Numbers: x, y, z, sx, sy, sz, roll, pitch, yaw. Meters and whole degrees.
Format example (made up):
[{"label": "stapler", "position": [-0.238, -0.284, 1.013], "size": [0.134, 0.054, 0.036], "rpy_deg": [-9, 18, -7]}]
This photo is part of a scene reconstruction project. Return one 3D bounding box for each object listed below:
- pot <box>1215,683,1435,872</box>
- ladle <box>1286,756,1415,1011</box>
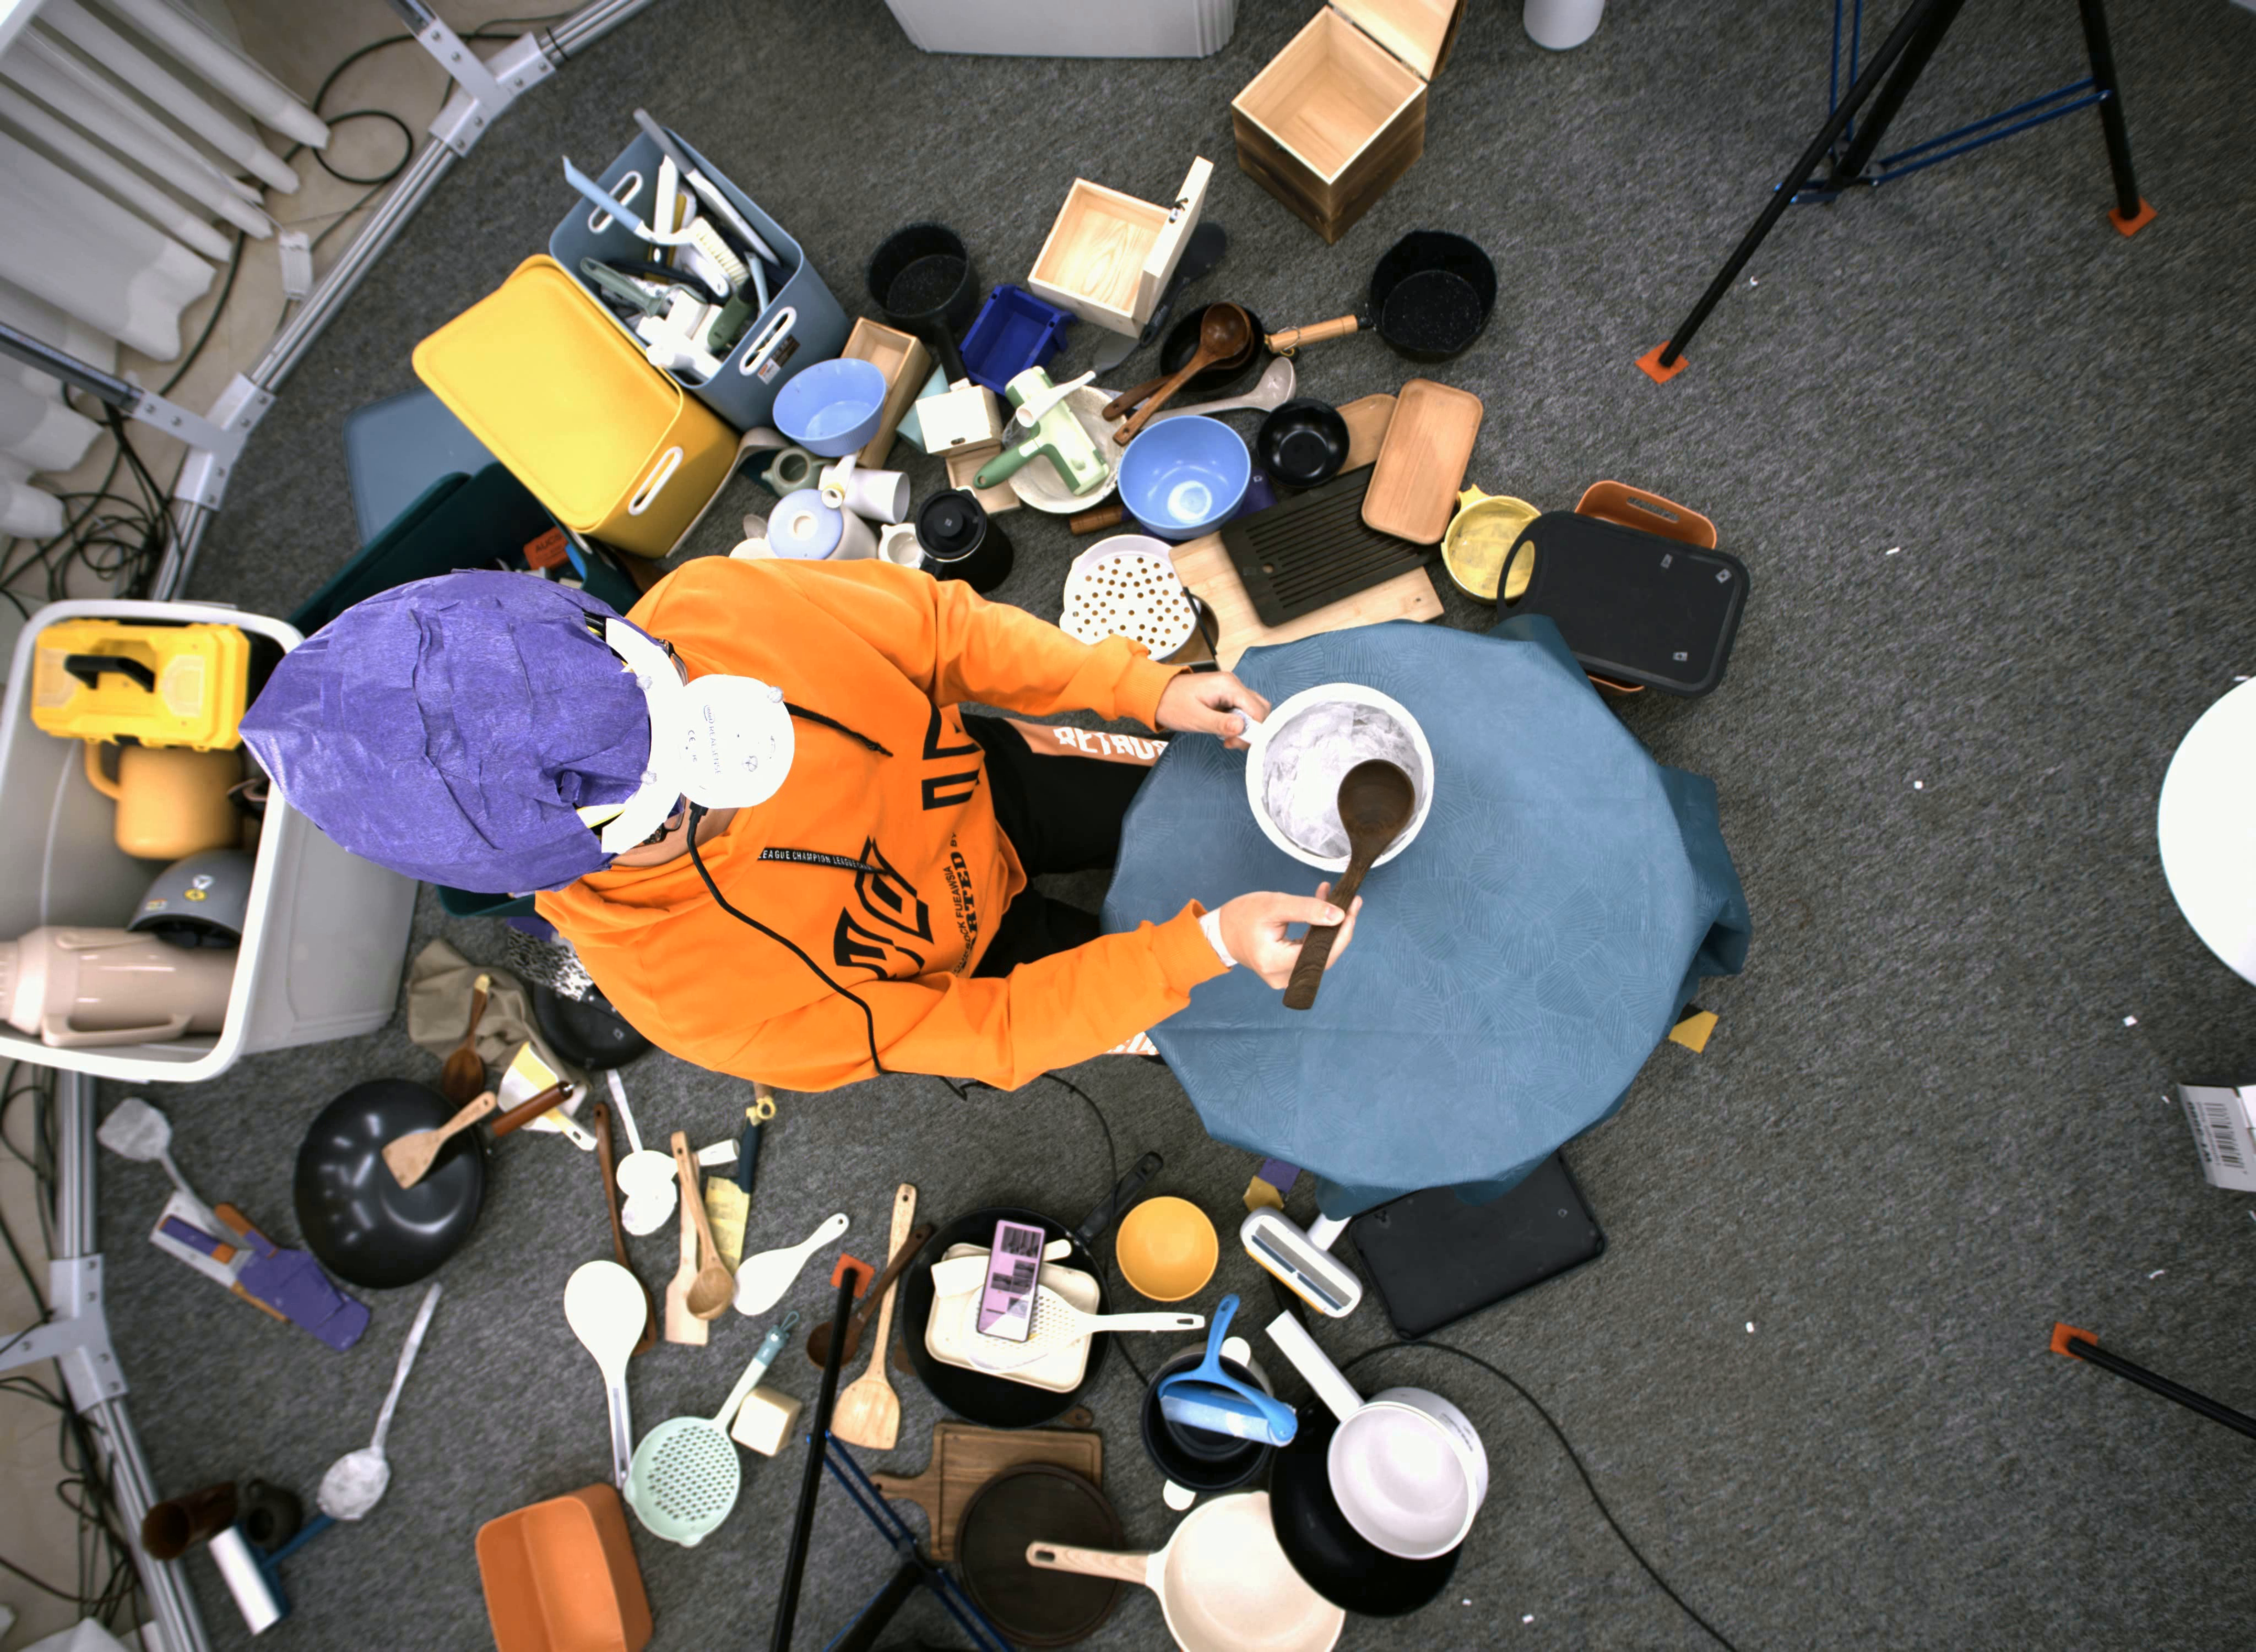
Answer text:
[{"label": "pot", "position": [0.188, -0.057, 1.369], "size": [0.233, 0.136, 0.179], "rpy_deg": [28, 94, 12]}, {"label": "ladle", "position": [0.188, 0.041, 1.216], "size": [0.076, 0.267, 0.073], "rpy_deg": [3, 131, 31]}]
